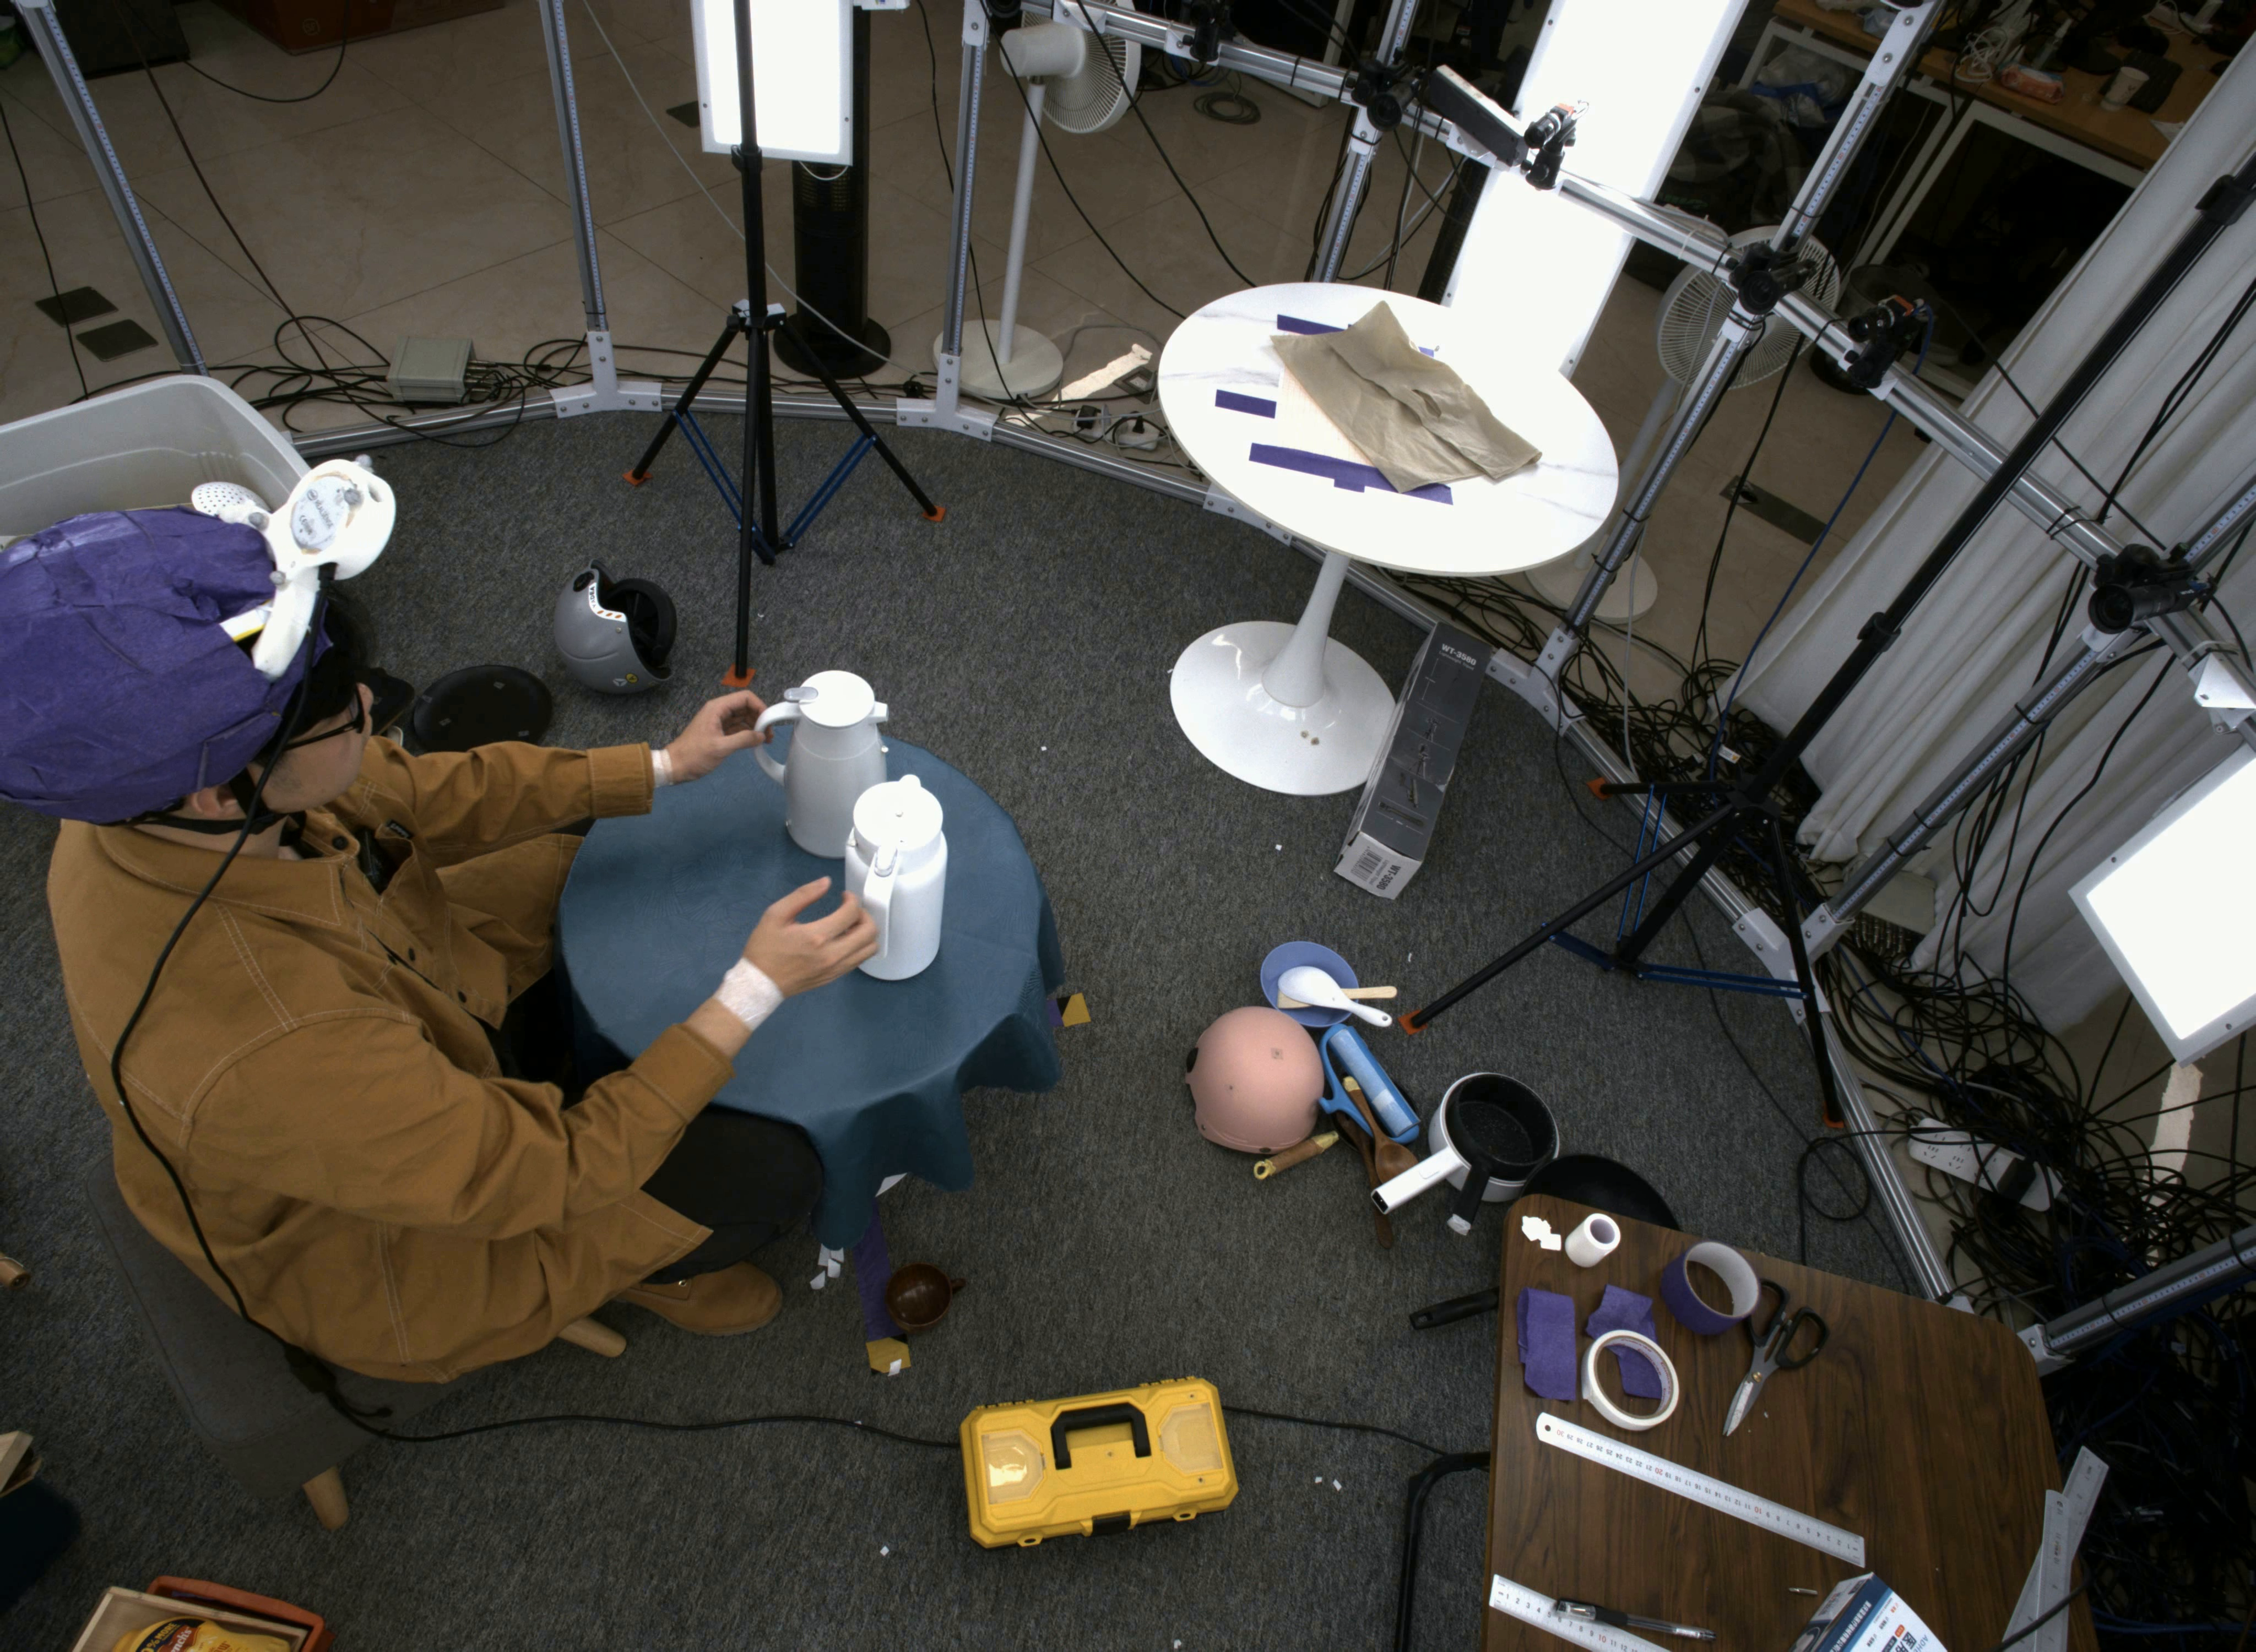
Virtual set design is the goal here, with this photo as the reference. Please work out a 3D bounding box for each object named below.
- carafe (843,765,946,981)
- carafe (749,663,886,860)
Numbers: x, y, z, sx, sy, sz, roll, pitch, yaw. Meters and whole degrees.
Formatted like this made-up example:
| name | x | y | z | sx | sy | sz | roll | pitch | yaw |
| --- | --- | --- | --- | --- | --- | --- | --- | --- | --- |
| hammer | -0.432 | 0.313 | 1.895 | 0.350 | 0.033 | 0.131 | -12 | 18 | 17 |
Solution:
| name | x | y | z | sx | sy | sz | roll | pitch | yaw |
| --- | --- | --- | --- | --- | --- | --- | --- | --- | --- |
| carafe | -0.277 | 0.077 | 1.529 | 0.123 | 0.274 | 0.170 | 11 | 51 | -5 |
| carafe | -0.390 | -0.087 | 1.634 | 0.167 | 0.254 | 0.130 | 2 | 52 | -10 |
